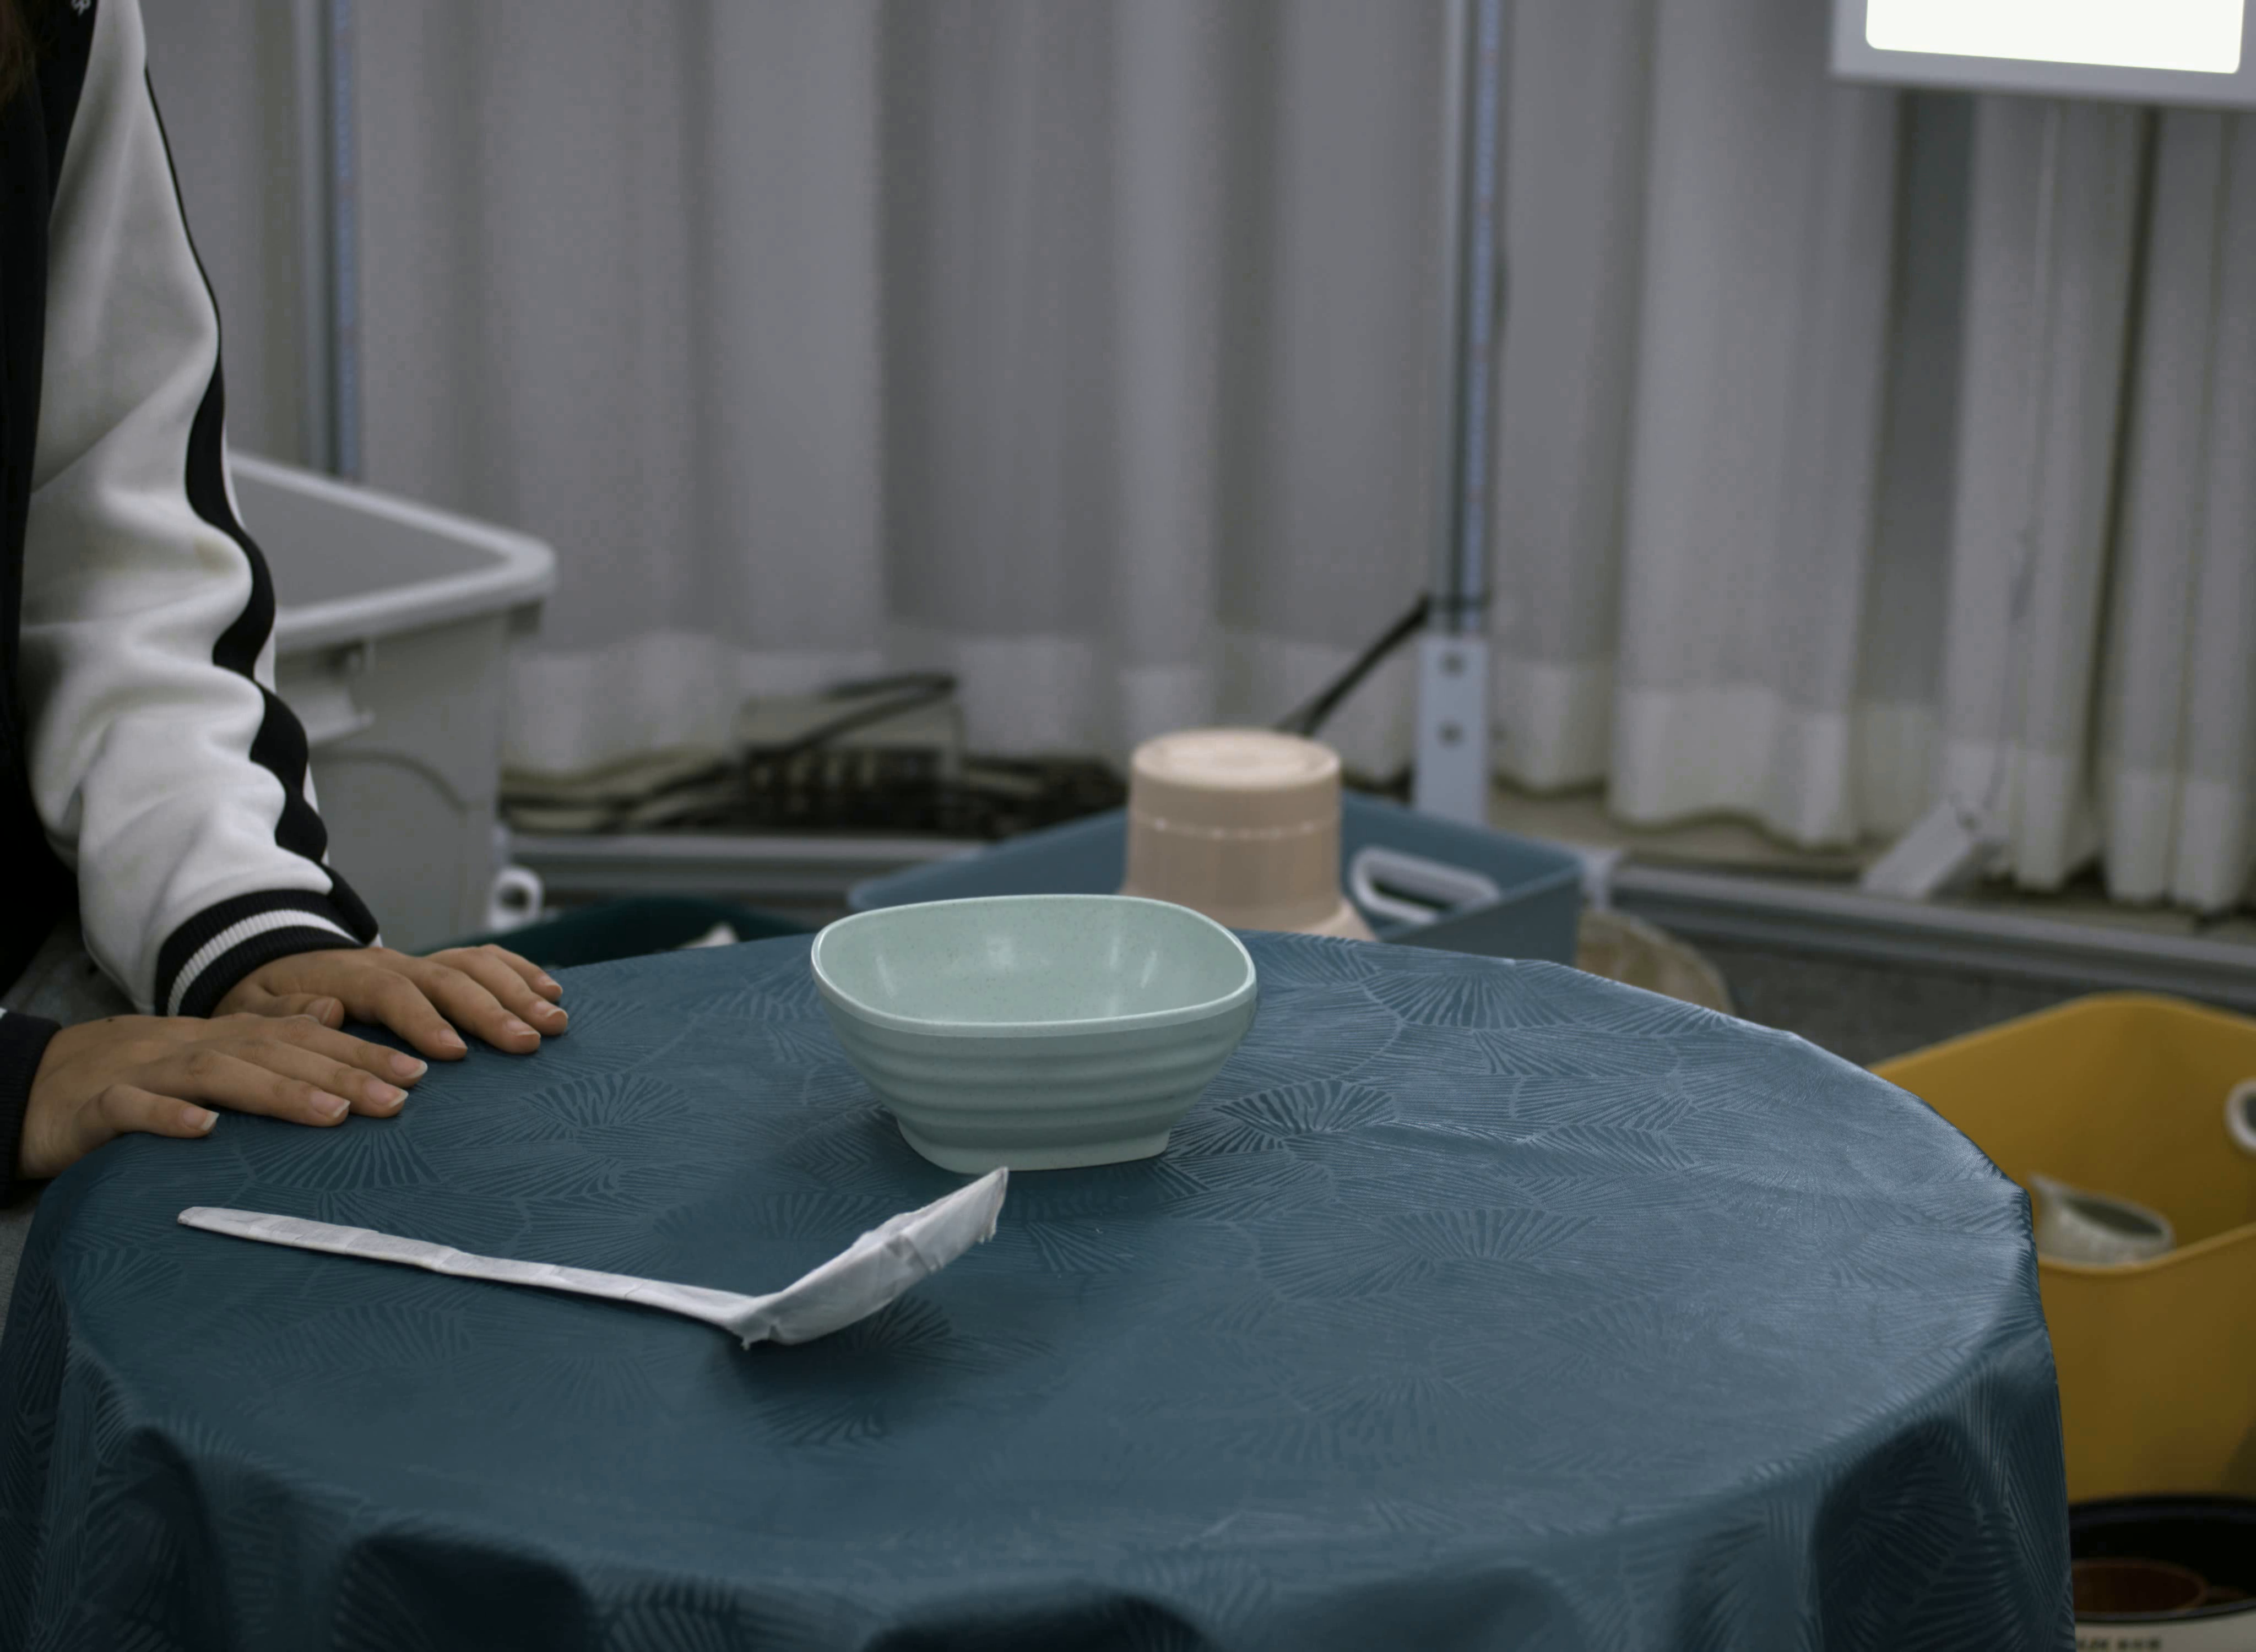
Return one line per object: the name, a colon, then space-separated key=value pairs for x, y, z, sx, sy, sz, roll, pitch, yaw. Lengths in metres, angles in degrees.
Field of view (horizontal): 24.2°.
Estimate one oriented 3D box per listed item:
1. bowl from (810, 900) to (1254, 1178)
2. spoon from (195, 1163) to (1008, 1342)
bowl: x=-0.031 y=0.071 z=1.671 sx=0.151 sy=0.059 sz=0.150 roll=1 pitch=16 yaw=0
spoon: x=-0.159 y=0.105 z=1.534 sx=0.274 sy=0.060 sz=0.101 roll=9 pitch=13 yaw=28
